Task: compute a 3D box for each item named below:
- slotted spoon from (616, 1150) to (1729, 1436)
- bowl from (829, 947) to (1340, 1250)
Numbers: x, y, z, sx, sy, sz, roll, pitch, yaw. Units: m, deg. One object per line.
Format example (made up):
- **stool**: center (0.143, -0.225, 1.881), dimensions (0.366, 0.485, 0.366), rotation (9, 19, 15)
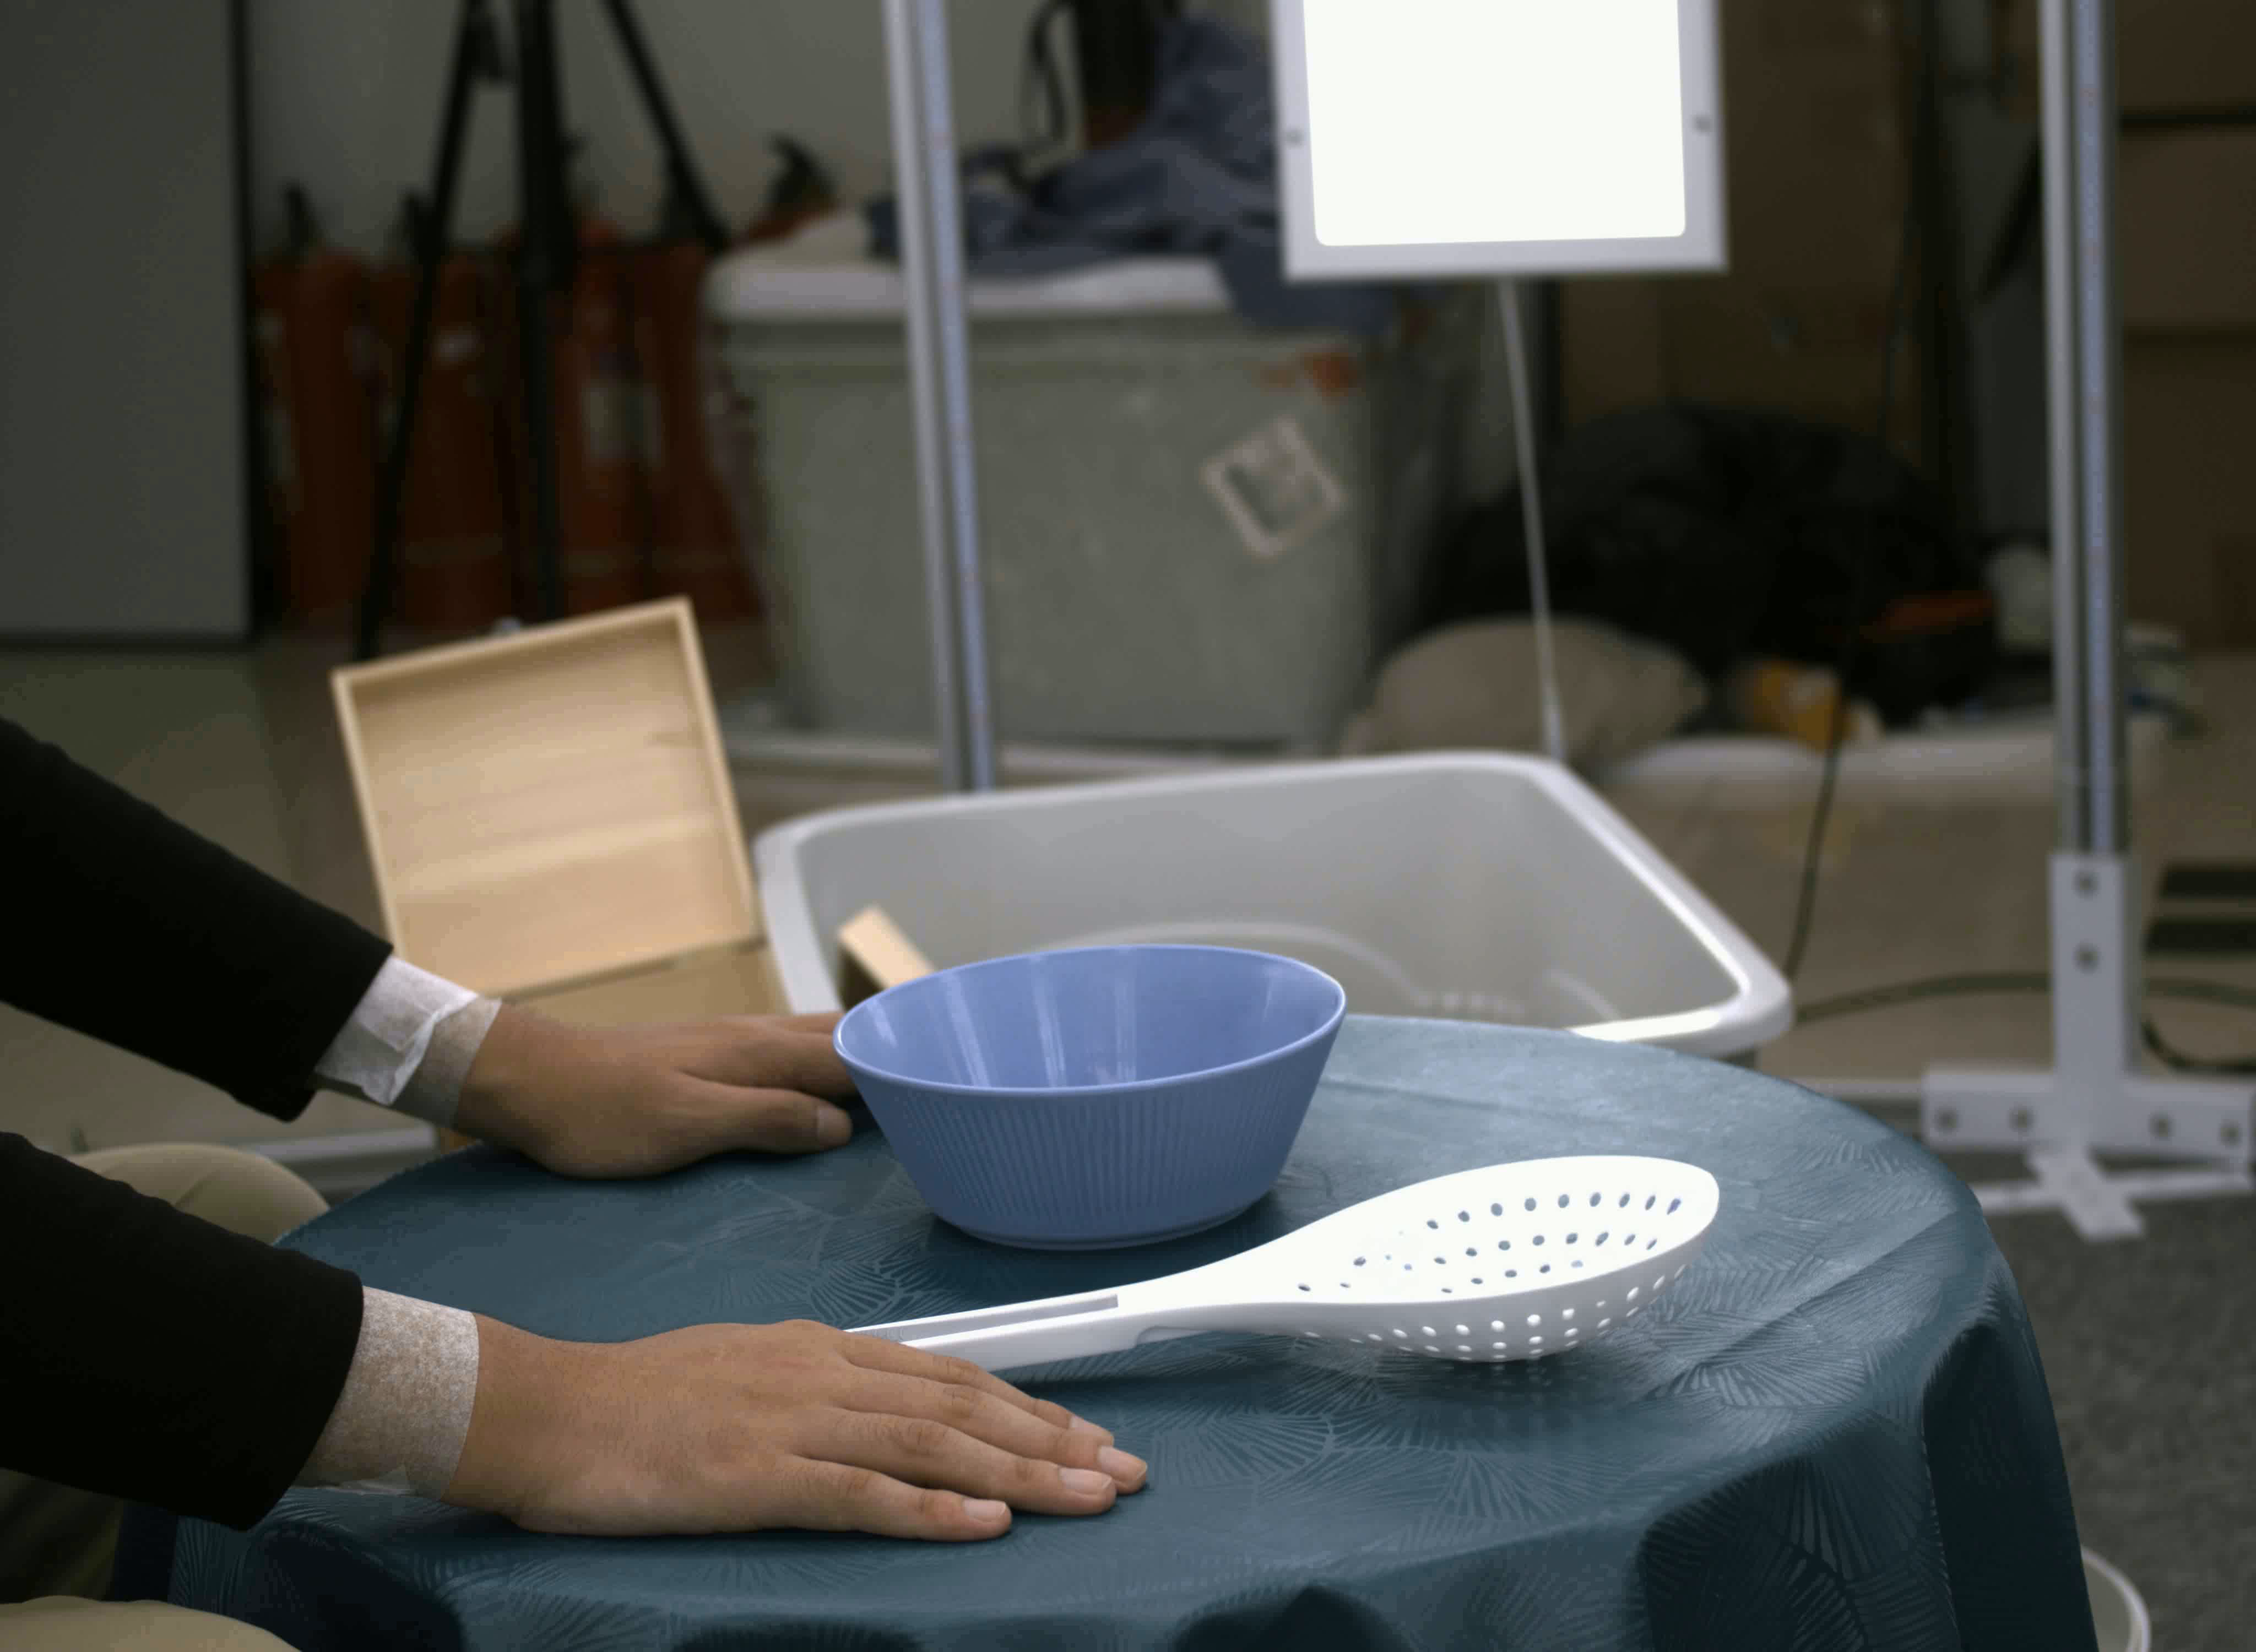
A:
- **slotted spoon**: center (0.014, 0.149, 1.706), dimensions (0.349, 0.046, 0.136), rotation (-6, 13, 2)
- **bowl**: center (-0.012, 0.096, 1.883), dimensions (0.175, 0.070, 0.176), rotation (-6, 14, 0)
